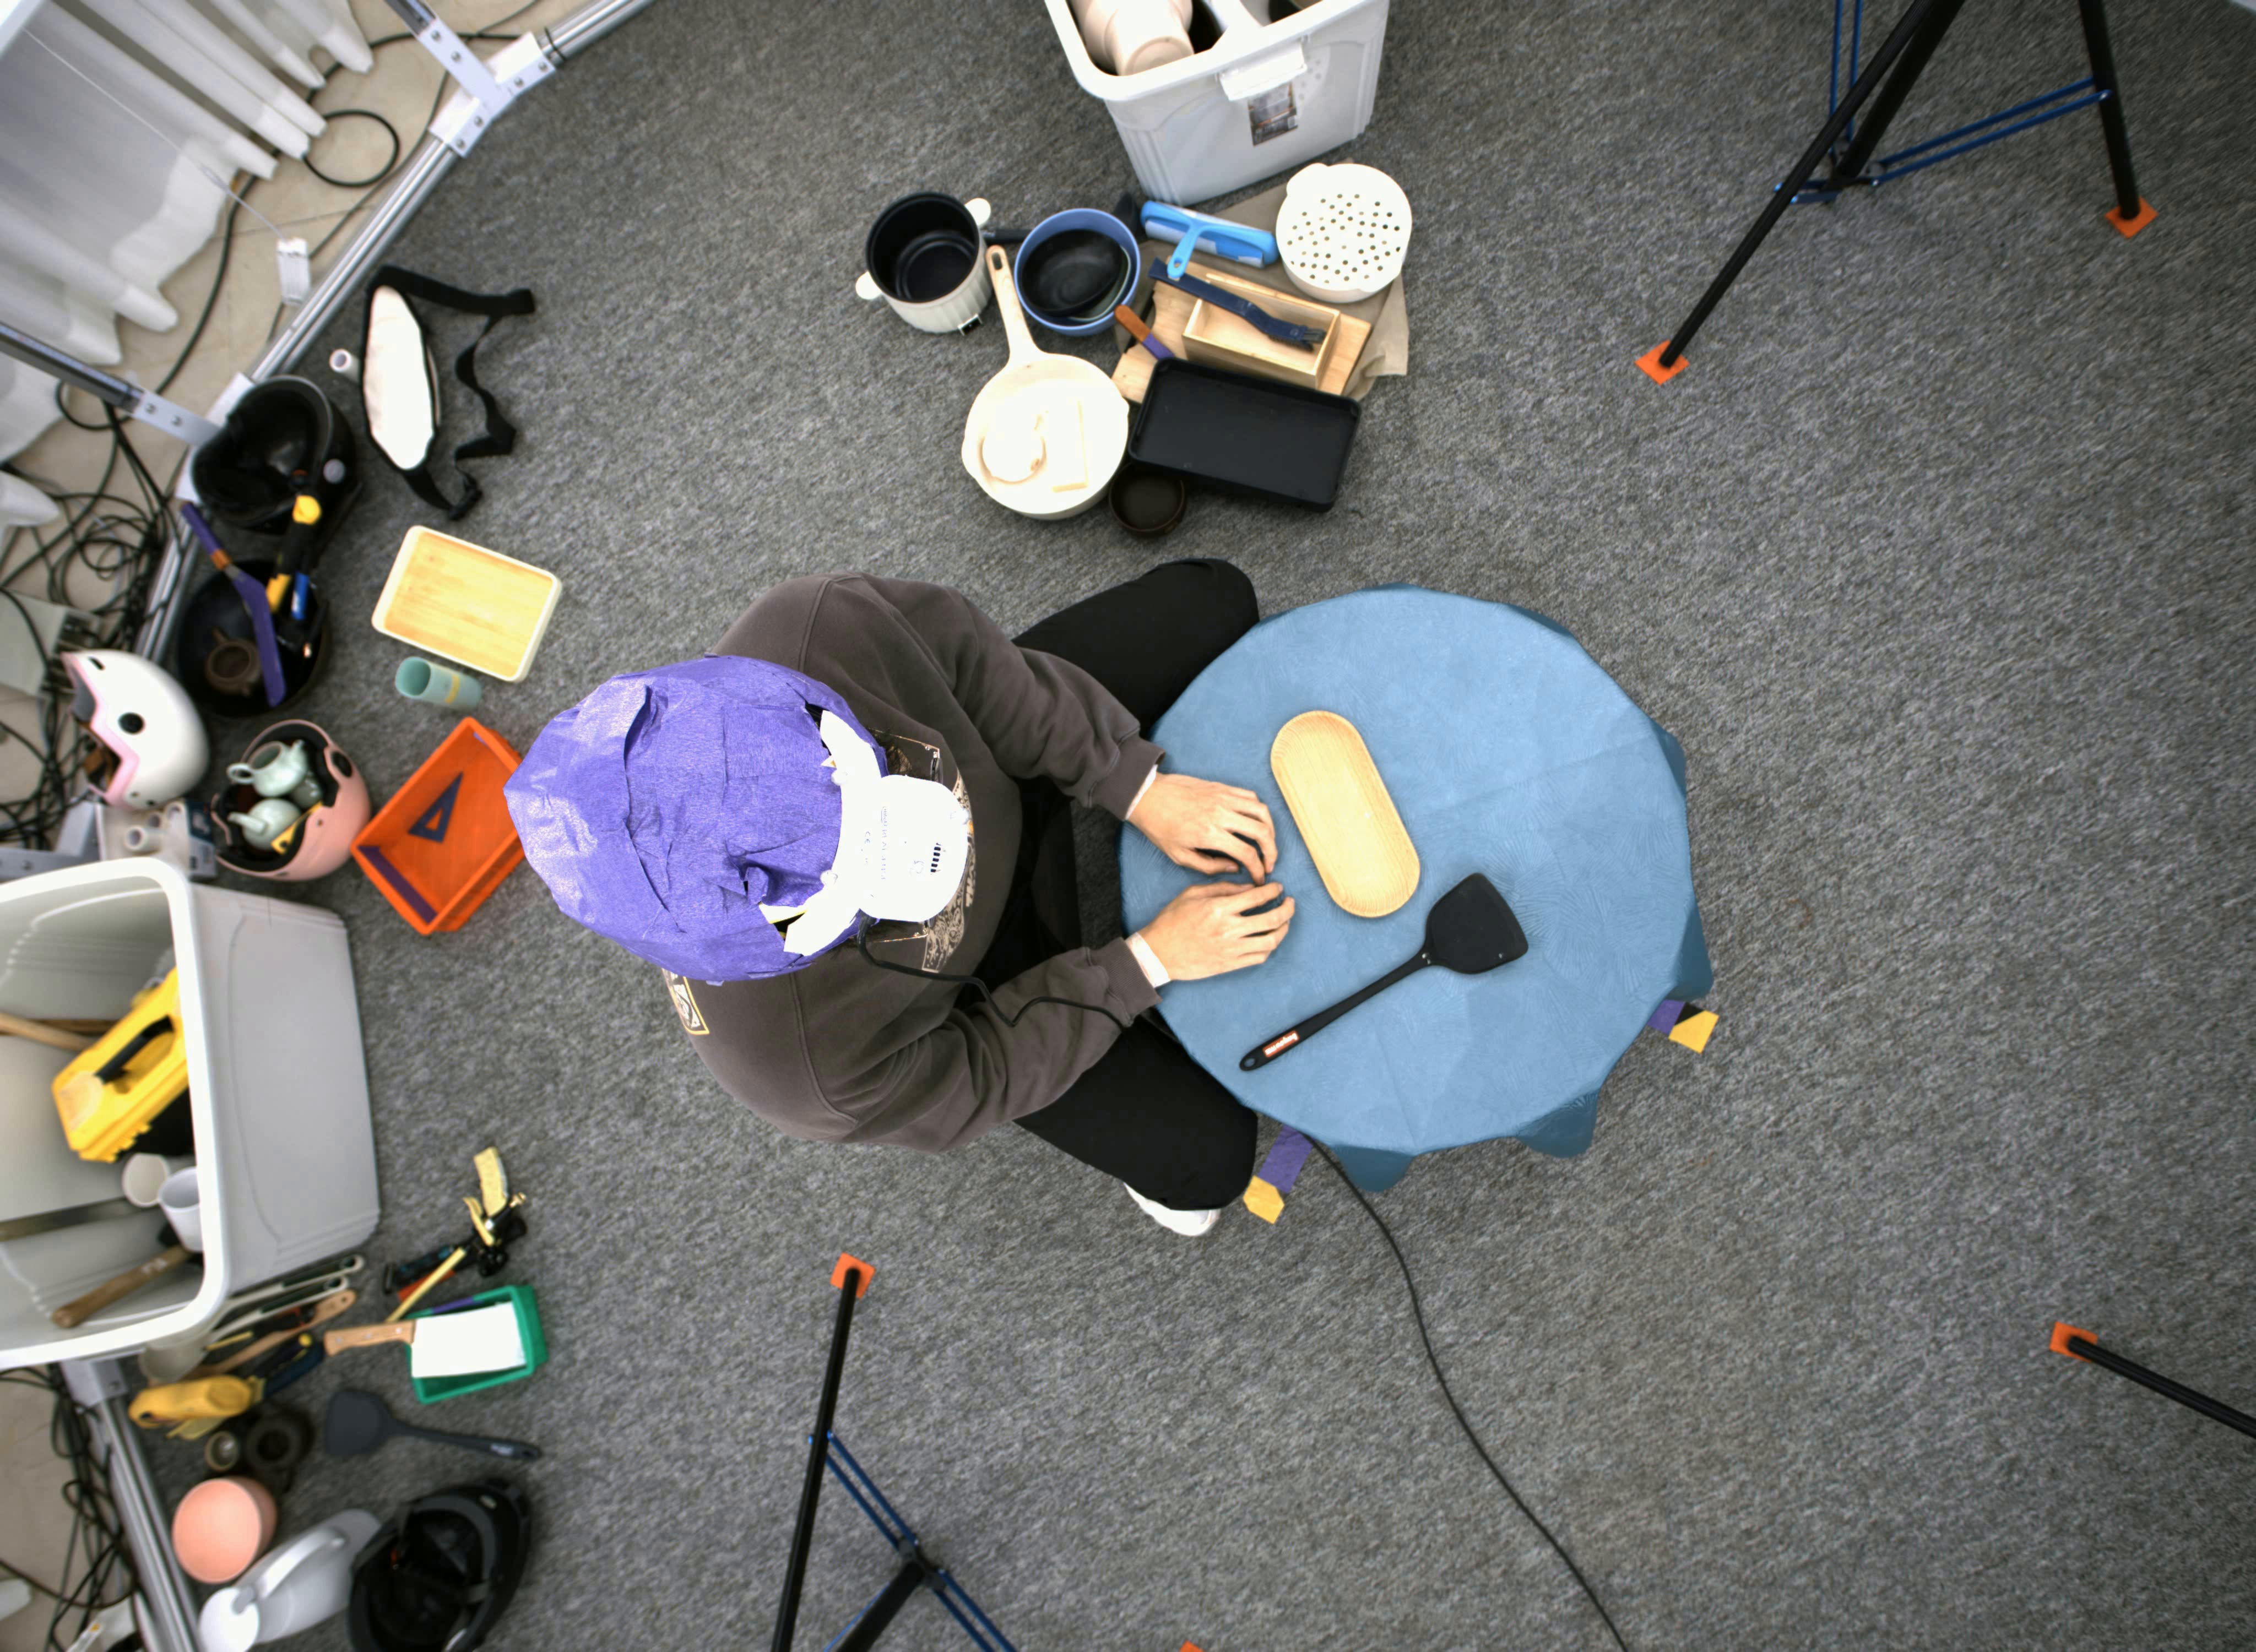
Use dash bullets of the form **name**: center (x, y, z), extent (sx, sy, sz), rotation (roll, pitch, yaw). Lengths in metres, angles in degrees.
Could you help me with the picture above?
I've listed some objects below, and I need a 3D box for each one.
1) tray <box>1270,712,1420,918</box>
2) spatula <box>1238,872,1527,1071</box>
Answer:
- **tray**: center (0.229, -0.013, 1.461), extent (0.102, 0.020, 0.230), rotation (-25, 84, 9)
- **spatula**: center (0.253, 0.168, 1.437), extent (0.328, 0.040, 0.099), rotation (-32, 81, 7)
